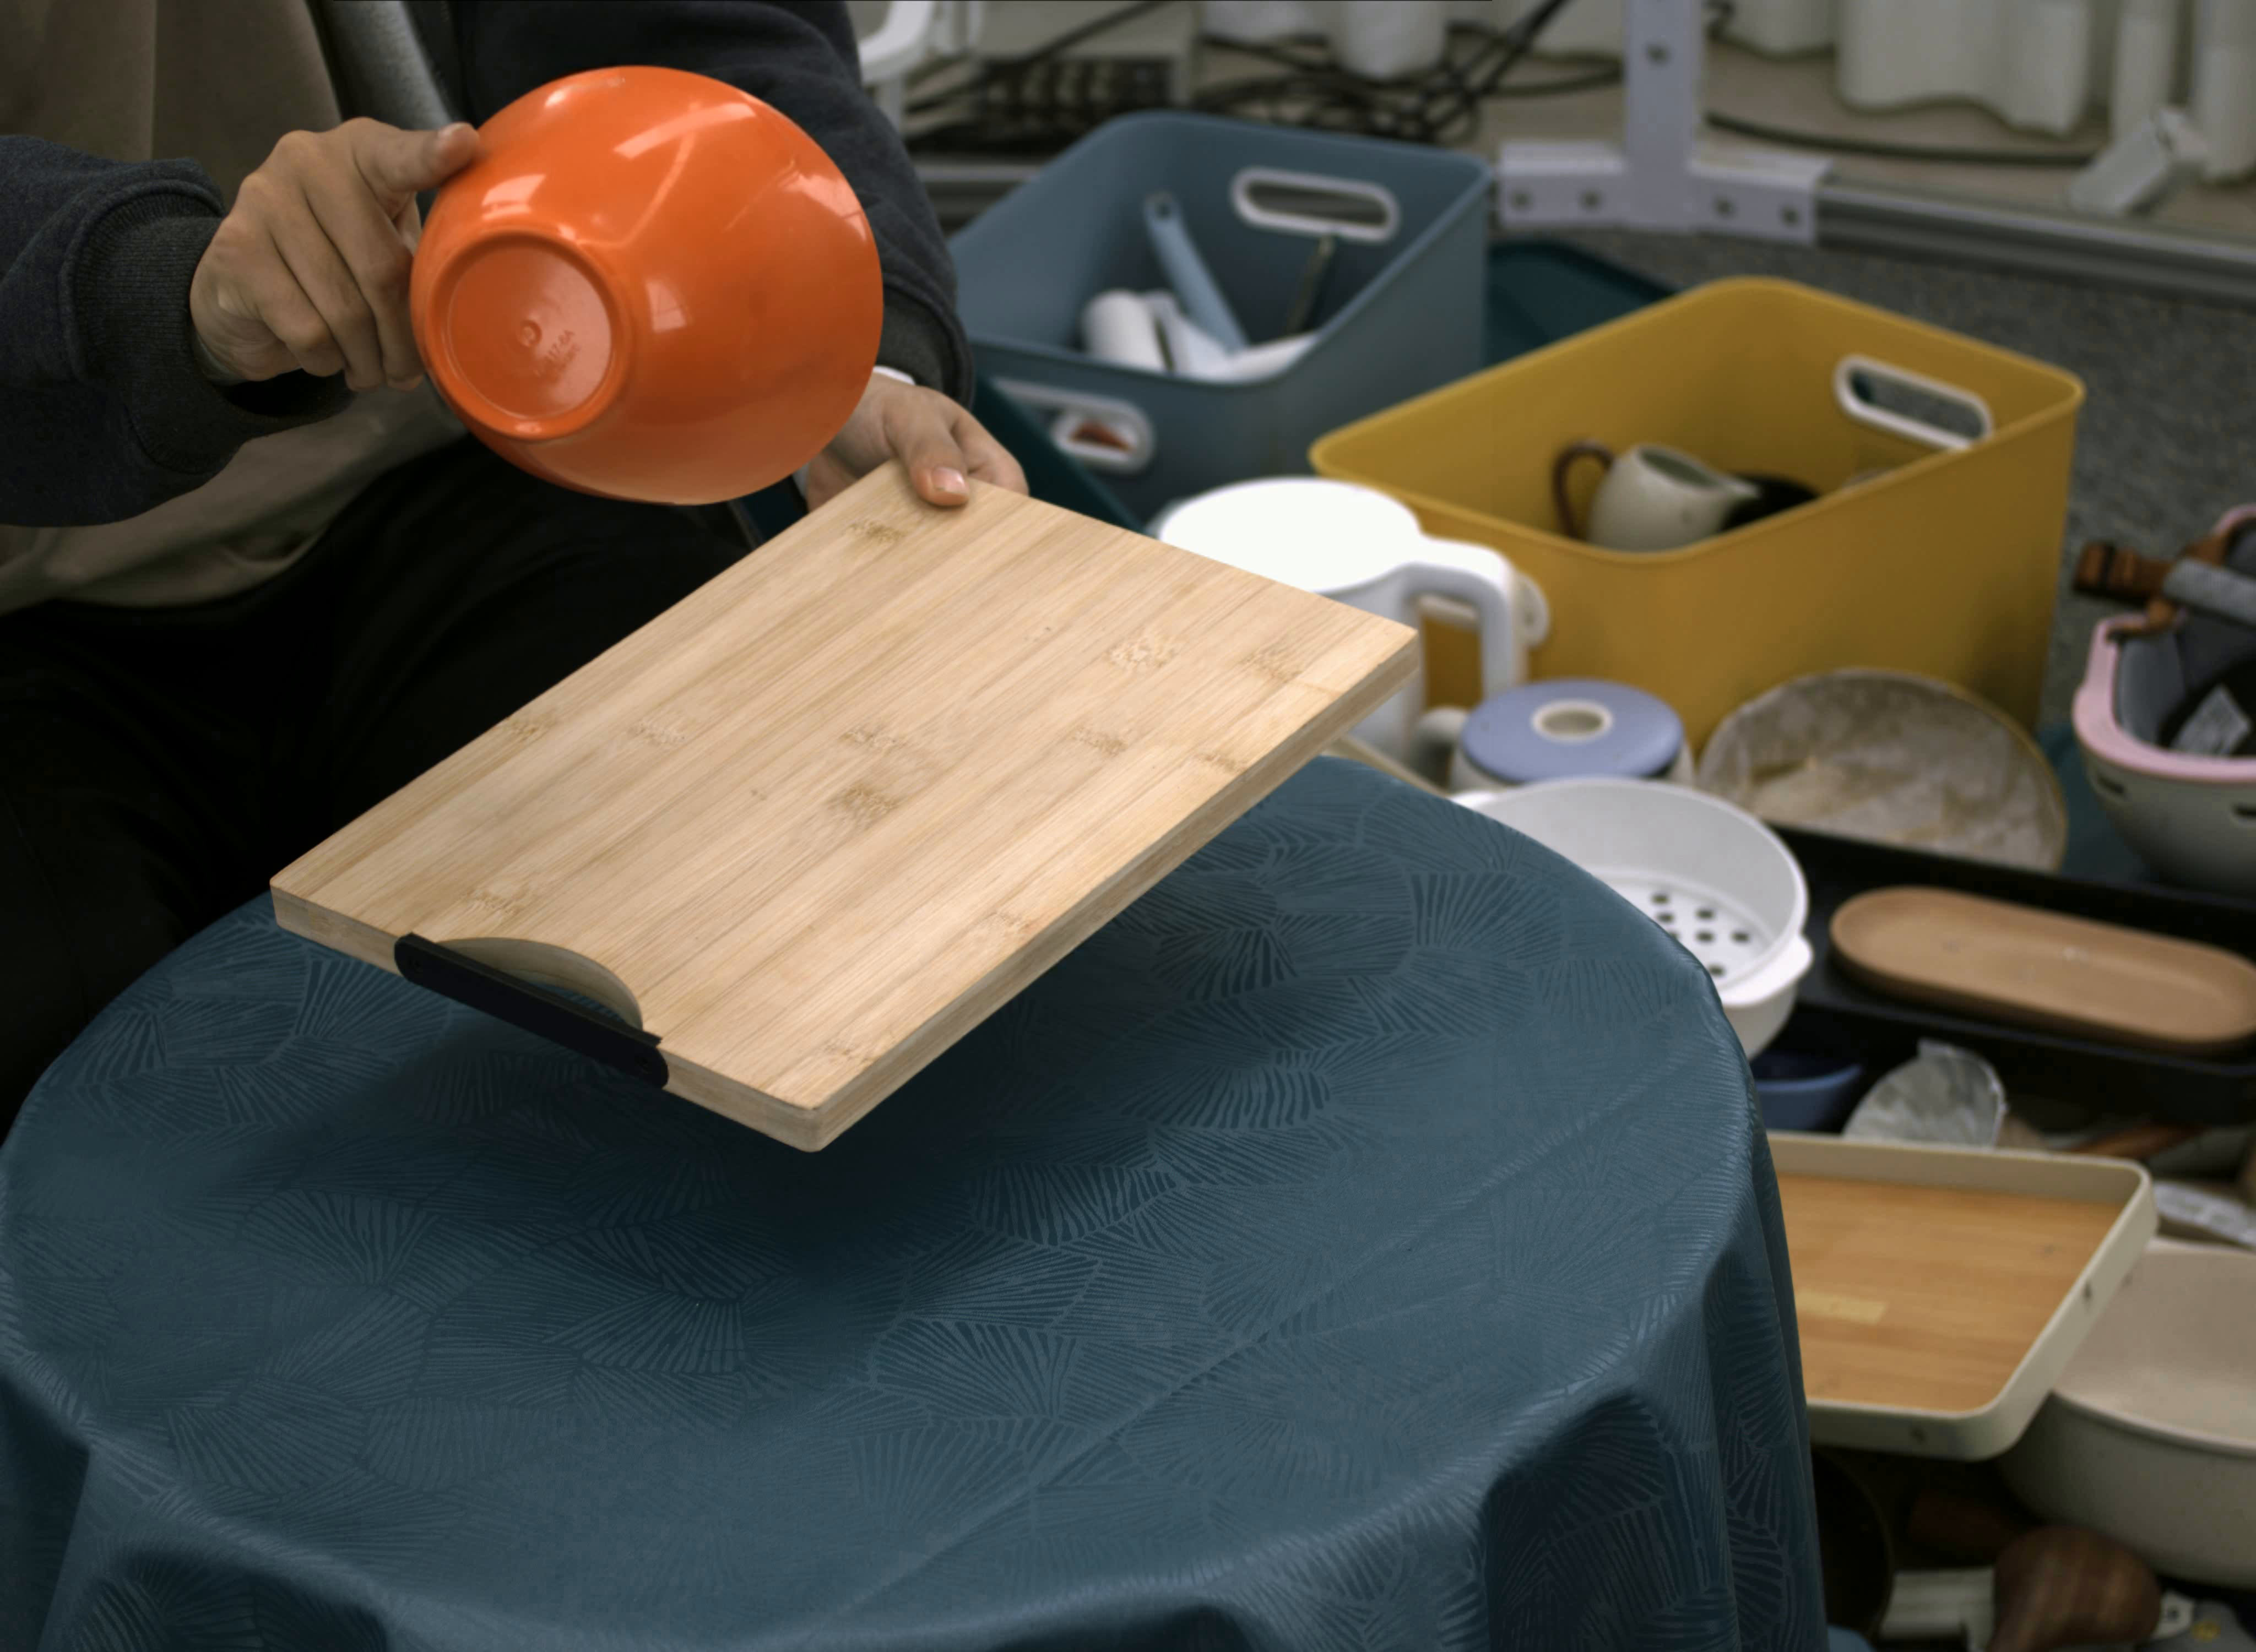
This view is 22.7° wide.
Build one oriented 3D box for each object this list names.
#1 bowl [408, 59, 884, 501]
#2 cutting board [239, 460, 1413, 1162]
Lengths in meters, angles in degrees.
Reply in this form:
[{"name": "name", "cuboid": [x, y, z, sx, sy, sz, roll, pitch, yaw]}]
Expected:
[{"name": "bowl", "cuboid": [-0.161, -0.159, 1.759, 0.147, 0.147, 0.106, 5, 19, 15]}, {"name": "cutting board", "cuboid": [-0.096, -0.014, 1.932, 0.250, 0.023, 0.354, 19, 38, 31]}]
